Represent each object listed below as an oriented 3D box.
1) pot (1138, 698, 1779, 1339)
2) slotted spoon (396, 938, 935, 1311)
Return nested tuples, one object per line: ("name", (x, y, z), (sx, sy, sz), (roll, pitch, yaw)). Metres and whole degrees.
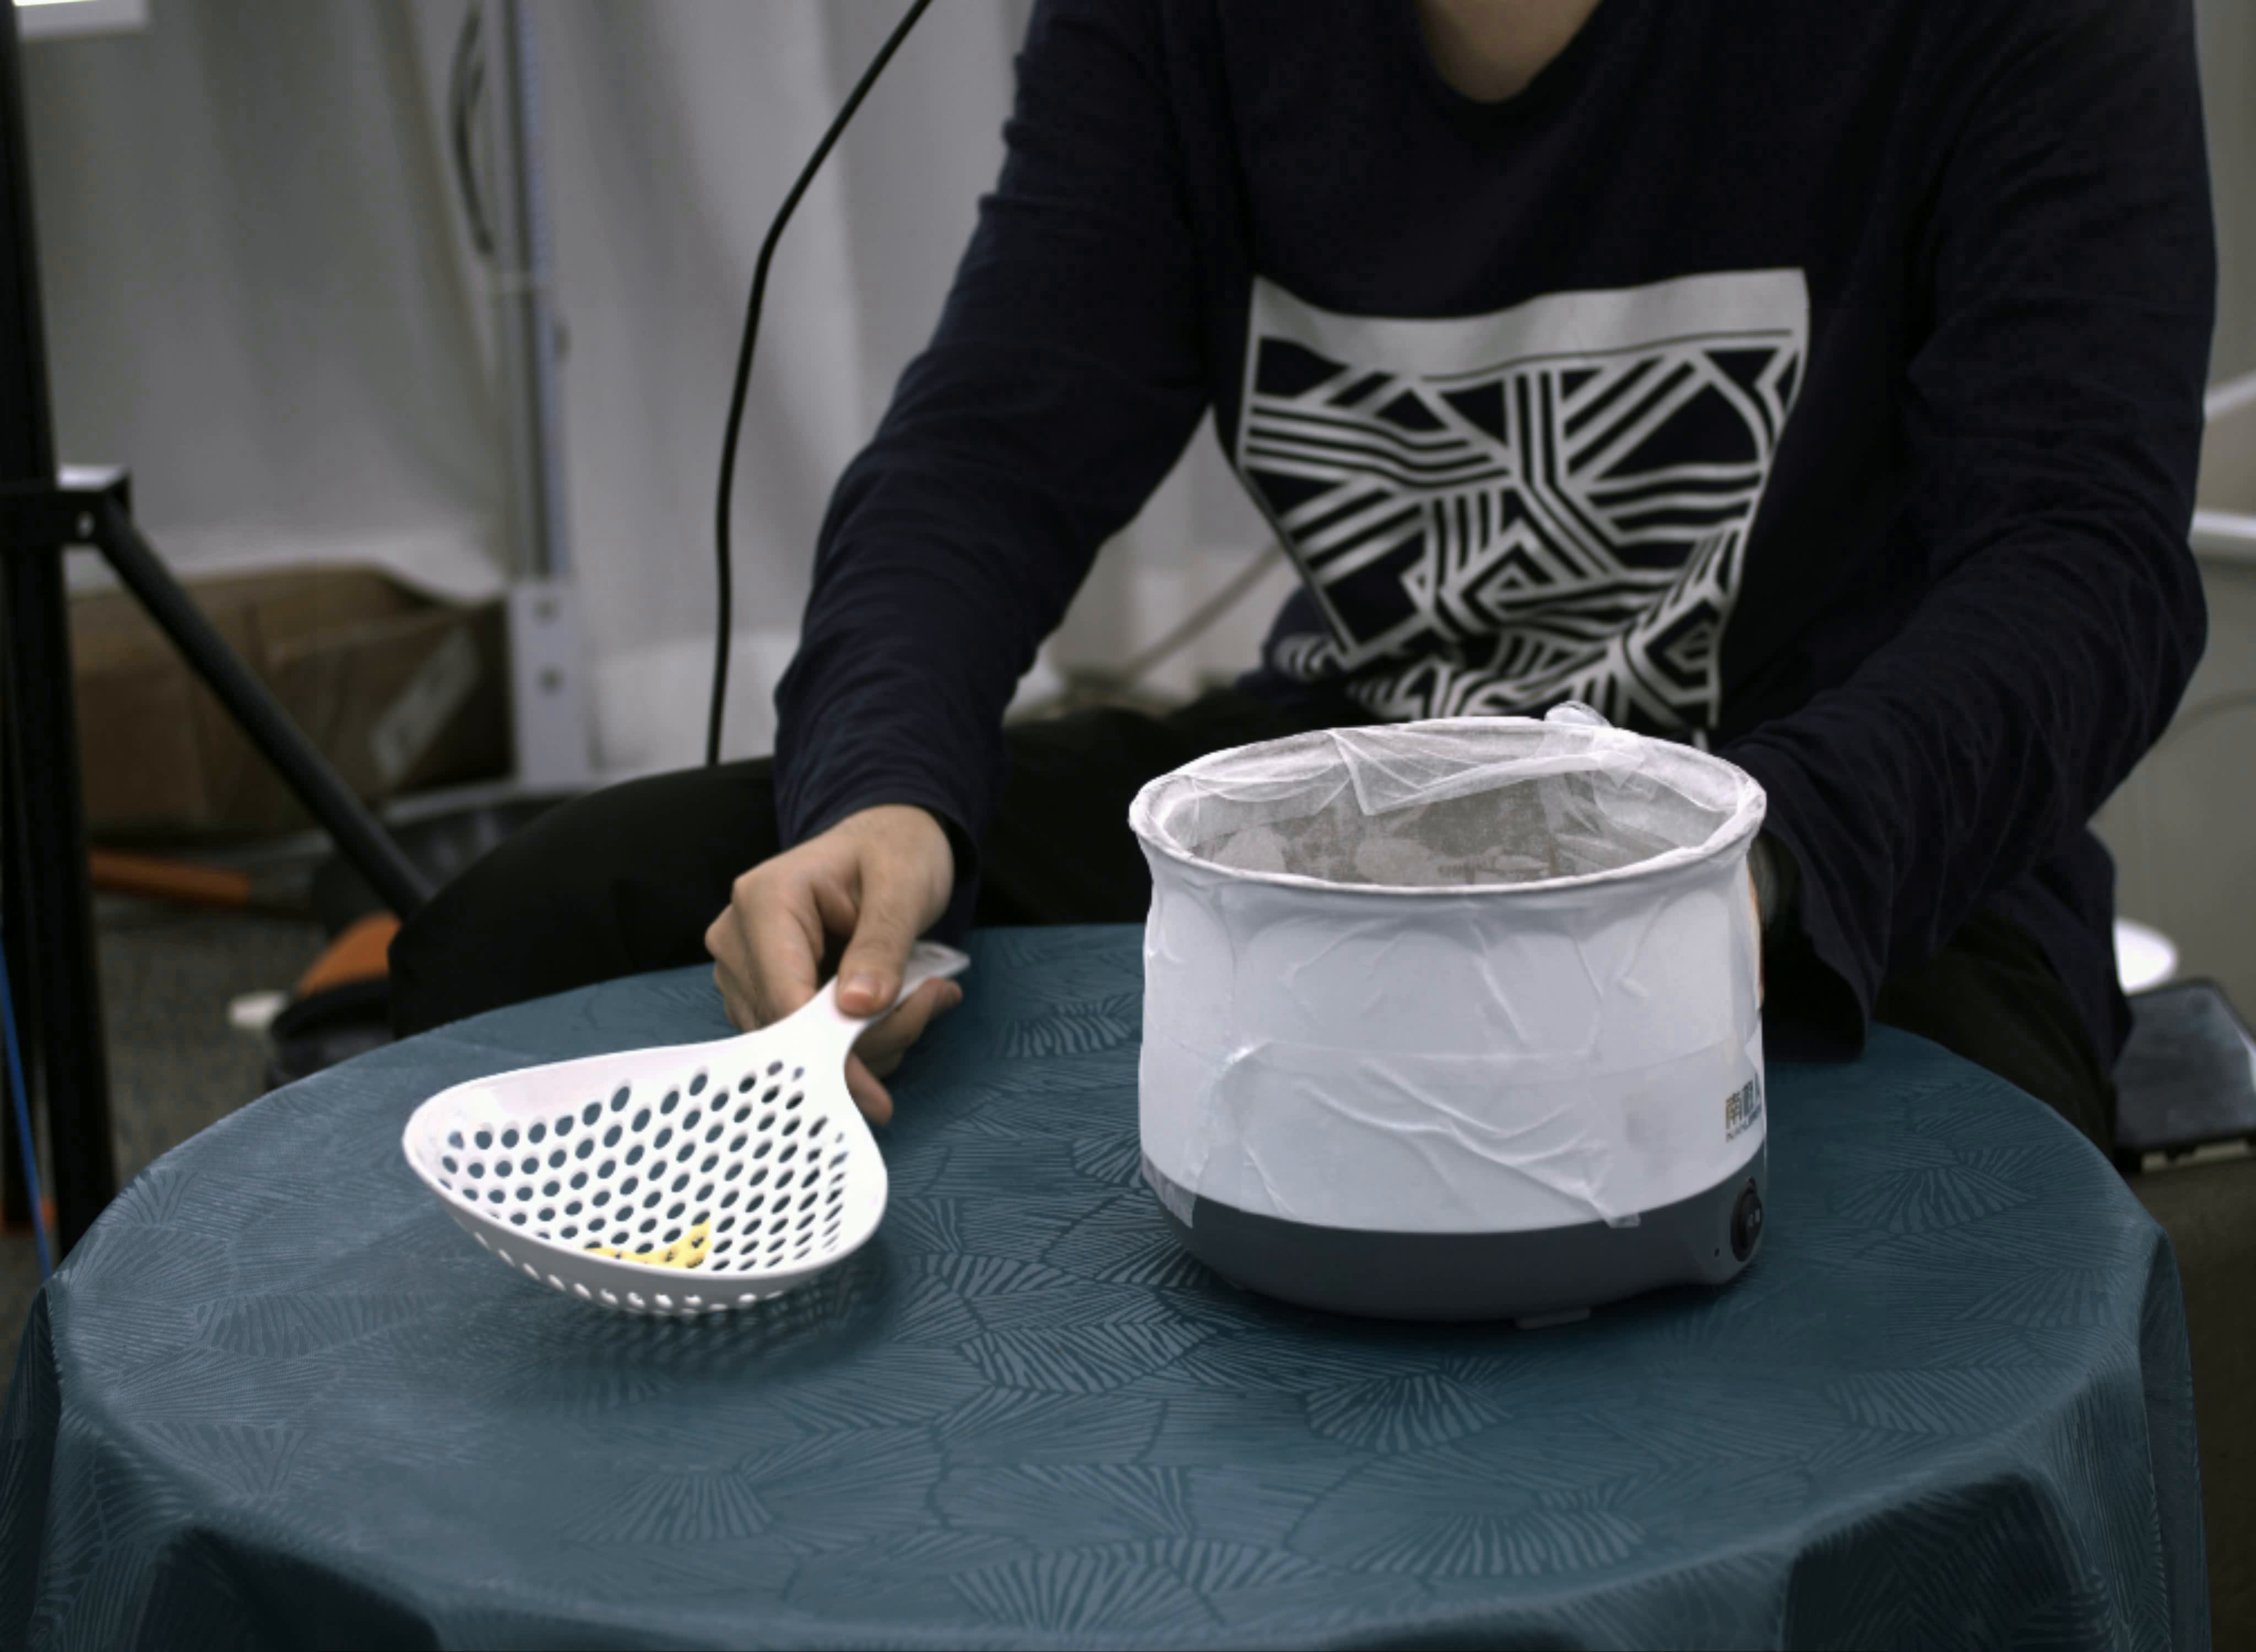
("pot", (0.102, 0.047, 1.510), (0.181, 0.136, 0.230), (7, 18, 23))
("slotted spoon", (-0.107, 0.076, 1.592), (0.138, 0.050, 0.345), (15, 22, 13))
